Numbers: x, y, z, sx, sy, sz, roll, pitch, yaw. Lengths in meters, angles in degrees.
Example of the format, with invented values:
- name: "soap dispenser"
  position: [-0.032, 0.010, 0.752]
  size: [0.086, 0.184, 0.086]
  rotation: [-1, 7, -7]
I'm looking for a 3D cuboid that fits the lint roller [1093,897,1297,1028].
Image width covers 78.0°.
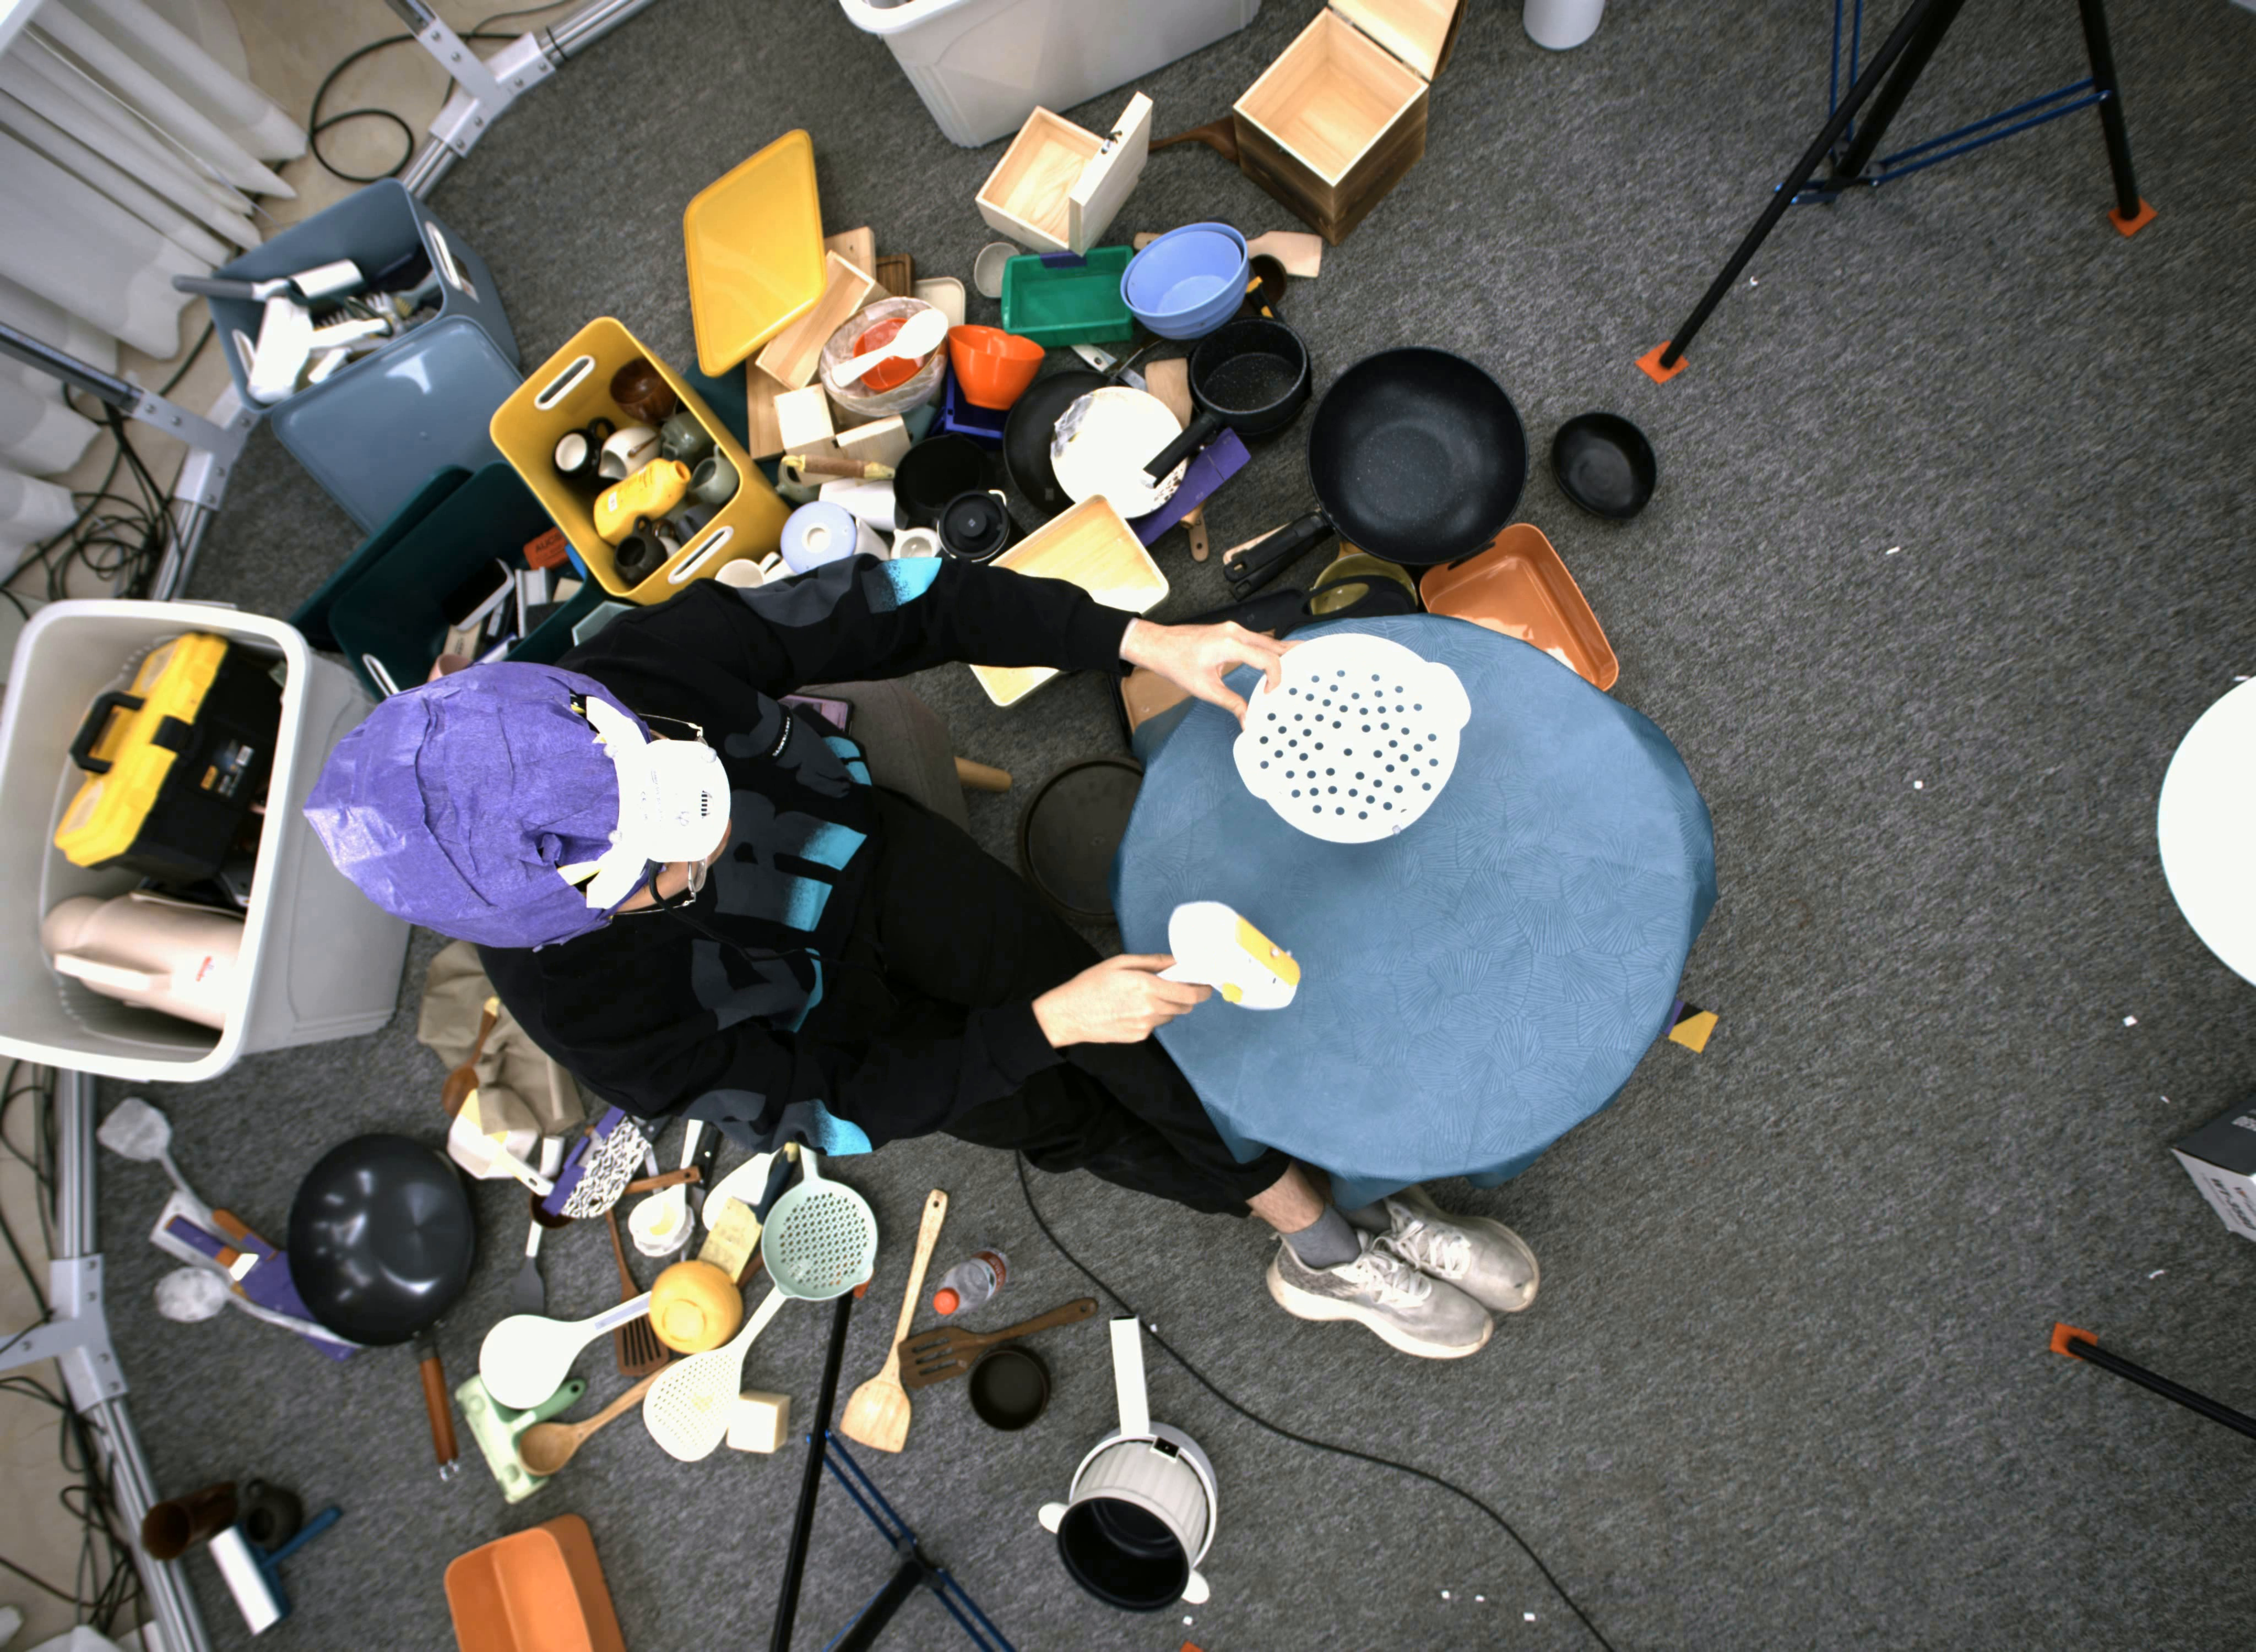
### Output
- name: "lint roller"
  position: [0.049, 0.146, 1.357]
  size: [0.195, 0.194, 0.072]
  rotation: [-19, 58, 28]

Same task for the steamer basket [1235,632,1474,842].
- name: "steamer basket"
  position: [0.217, -0.085, 1.323]
  size: [0.231, 0.070, 0.199]
  rotation: [-21, 71, 1]
